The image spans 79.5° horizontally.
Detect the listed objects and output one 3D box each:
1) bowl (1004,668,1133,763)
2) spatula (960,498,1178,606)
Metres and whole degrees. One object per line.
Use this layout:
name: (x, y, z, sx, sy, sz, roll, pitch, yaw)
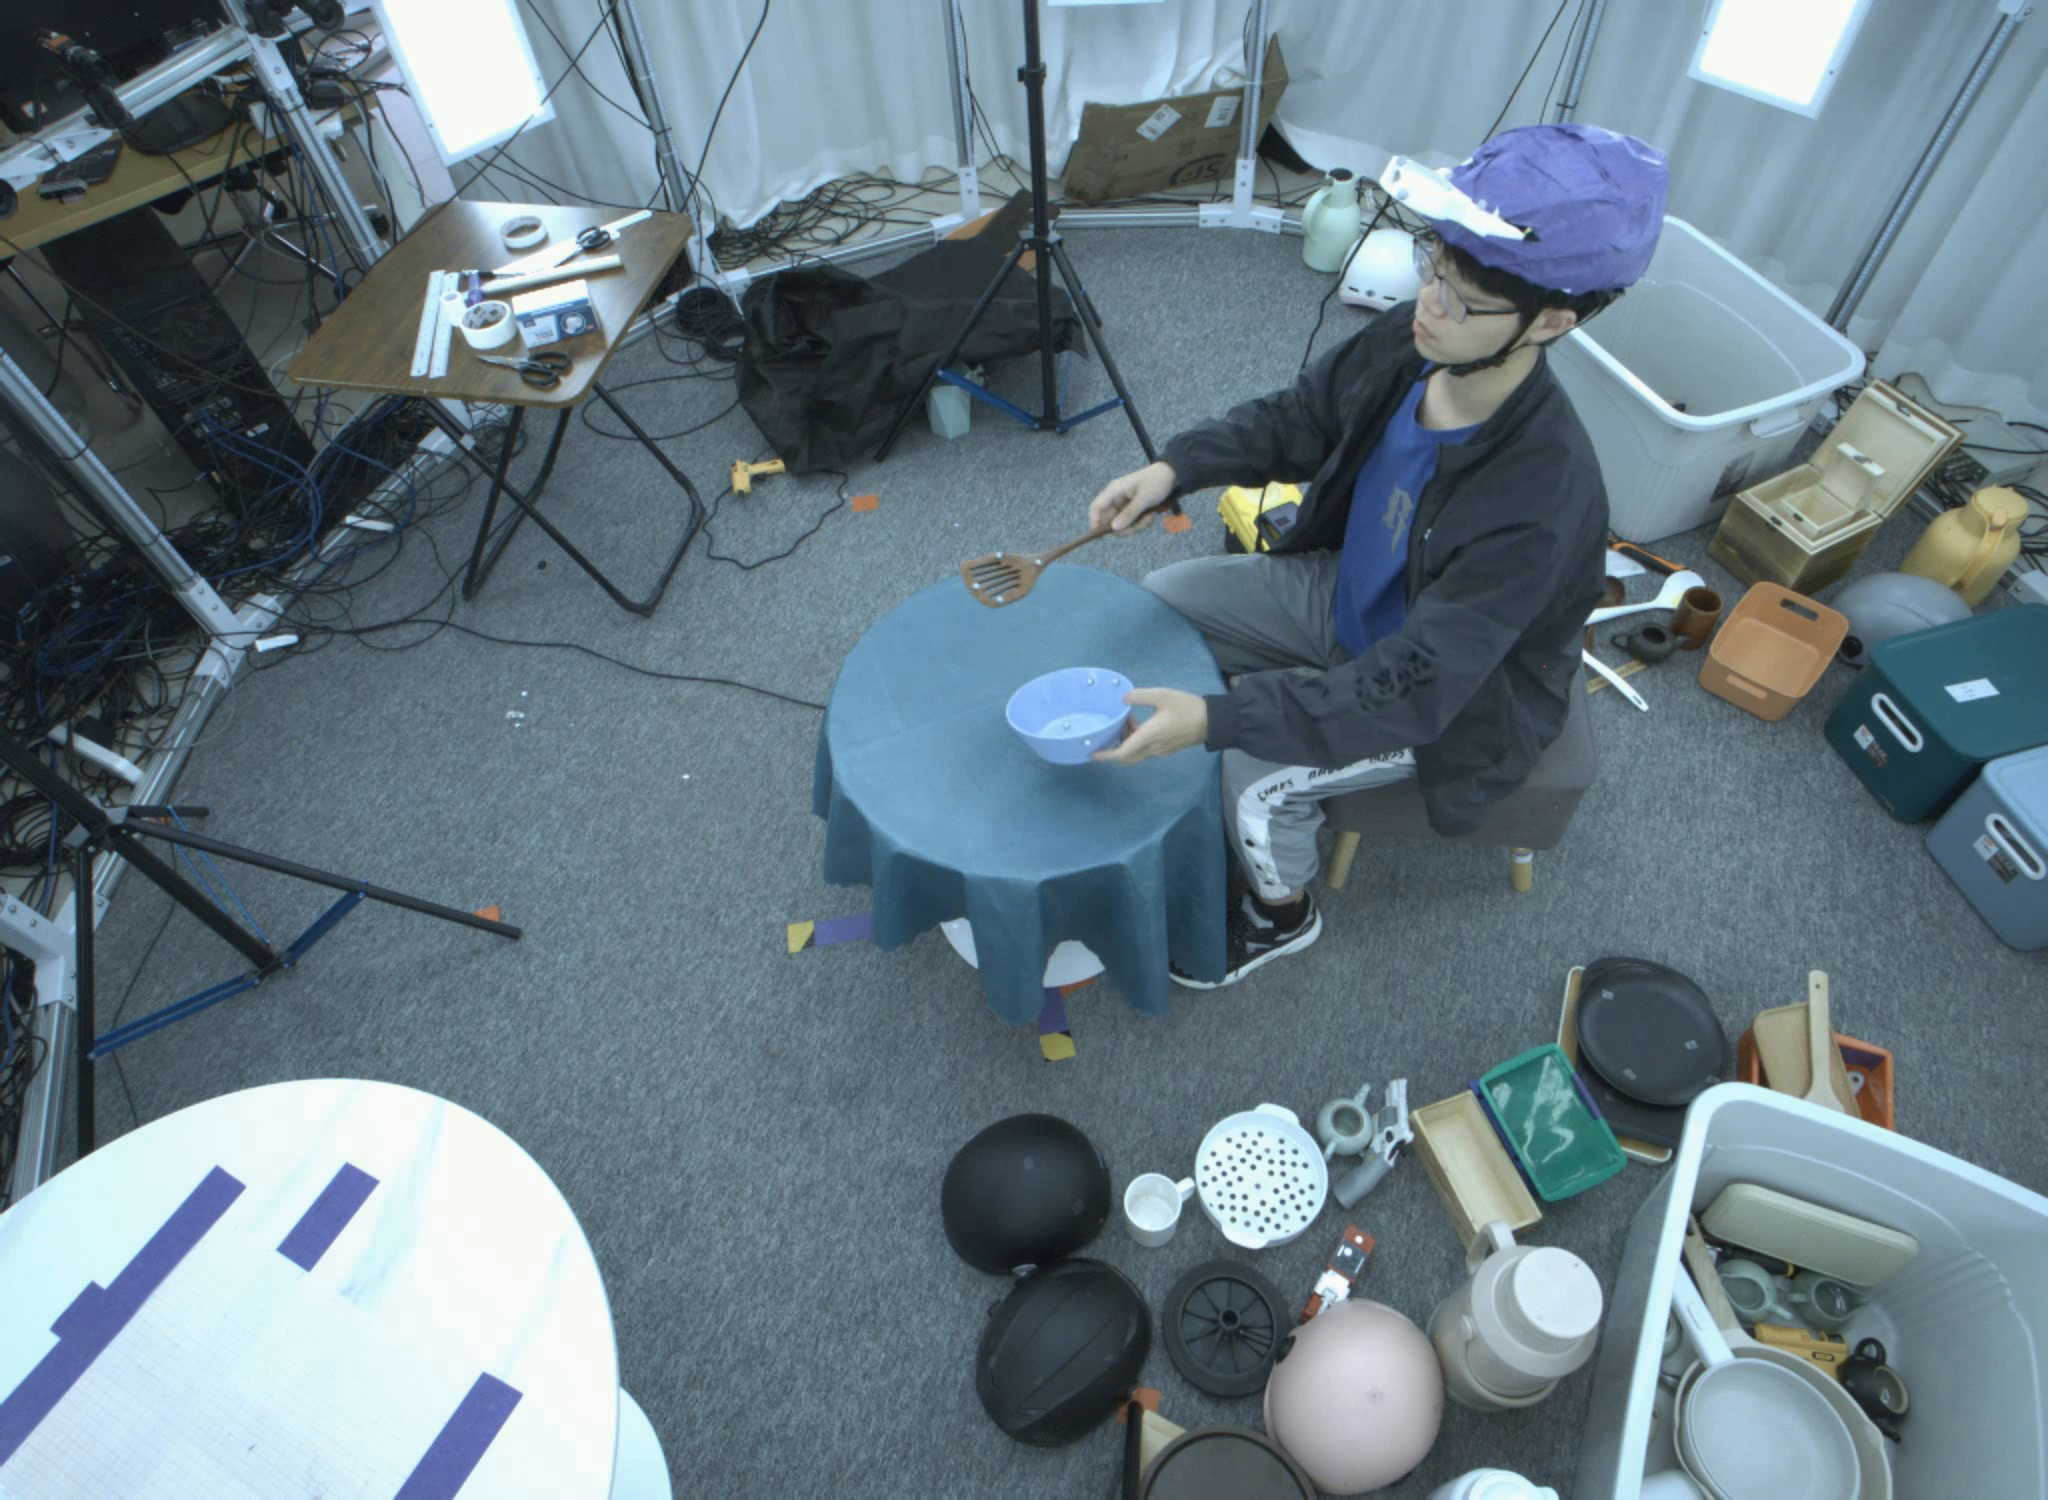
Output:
bowl: (0.065, -0.040, 1.669, 0.175, 0.071, 0.174, -6, 34, 5)
spatula: (0.076, -0.295, 1.755, 0.391, 0.024, 0.084, -28, 72, -28)
